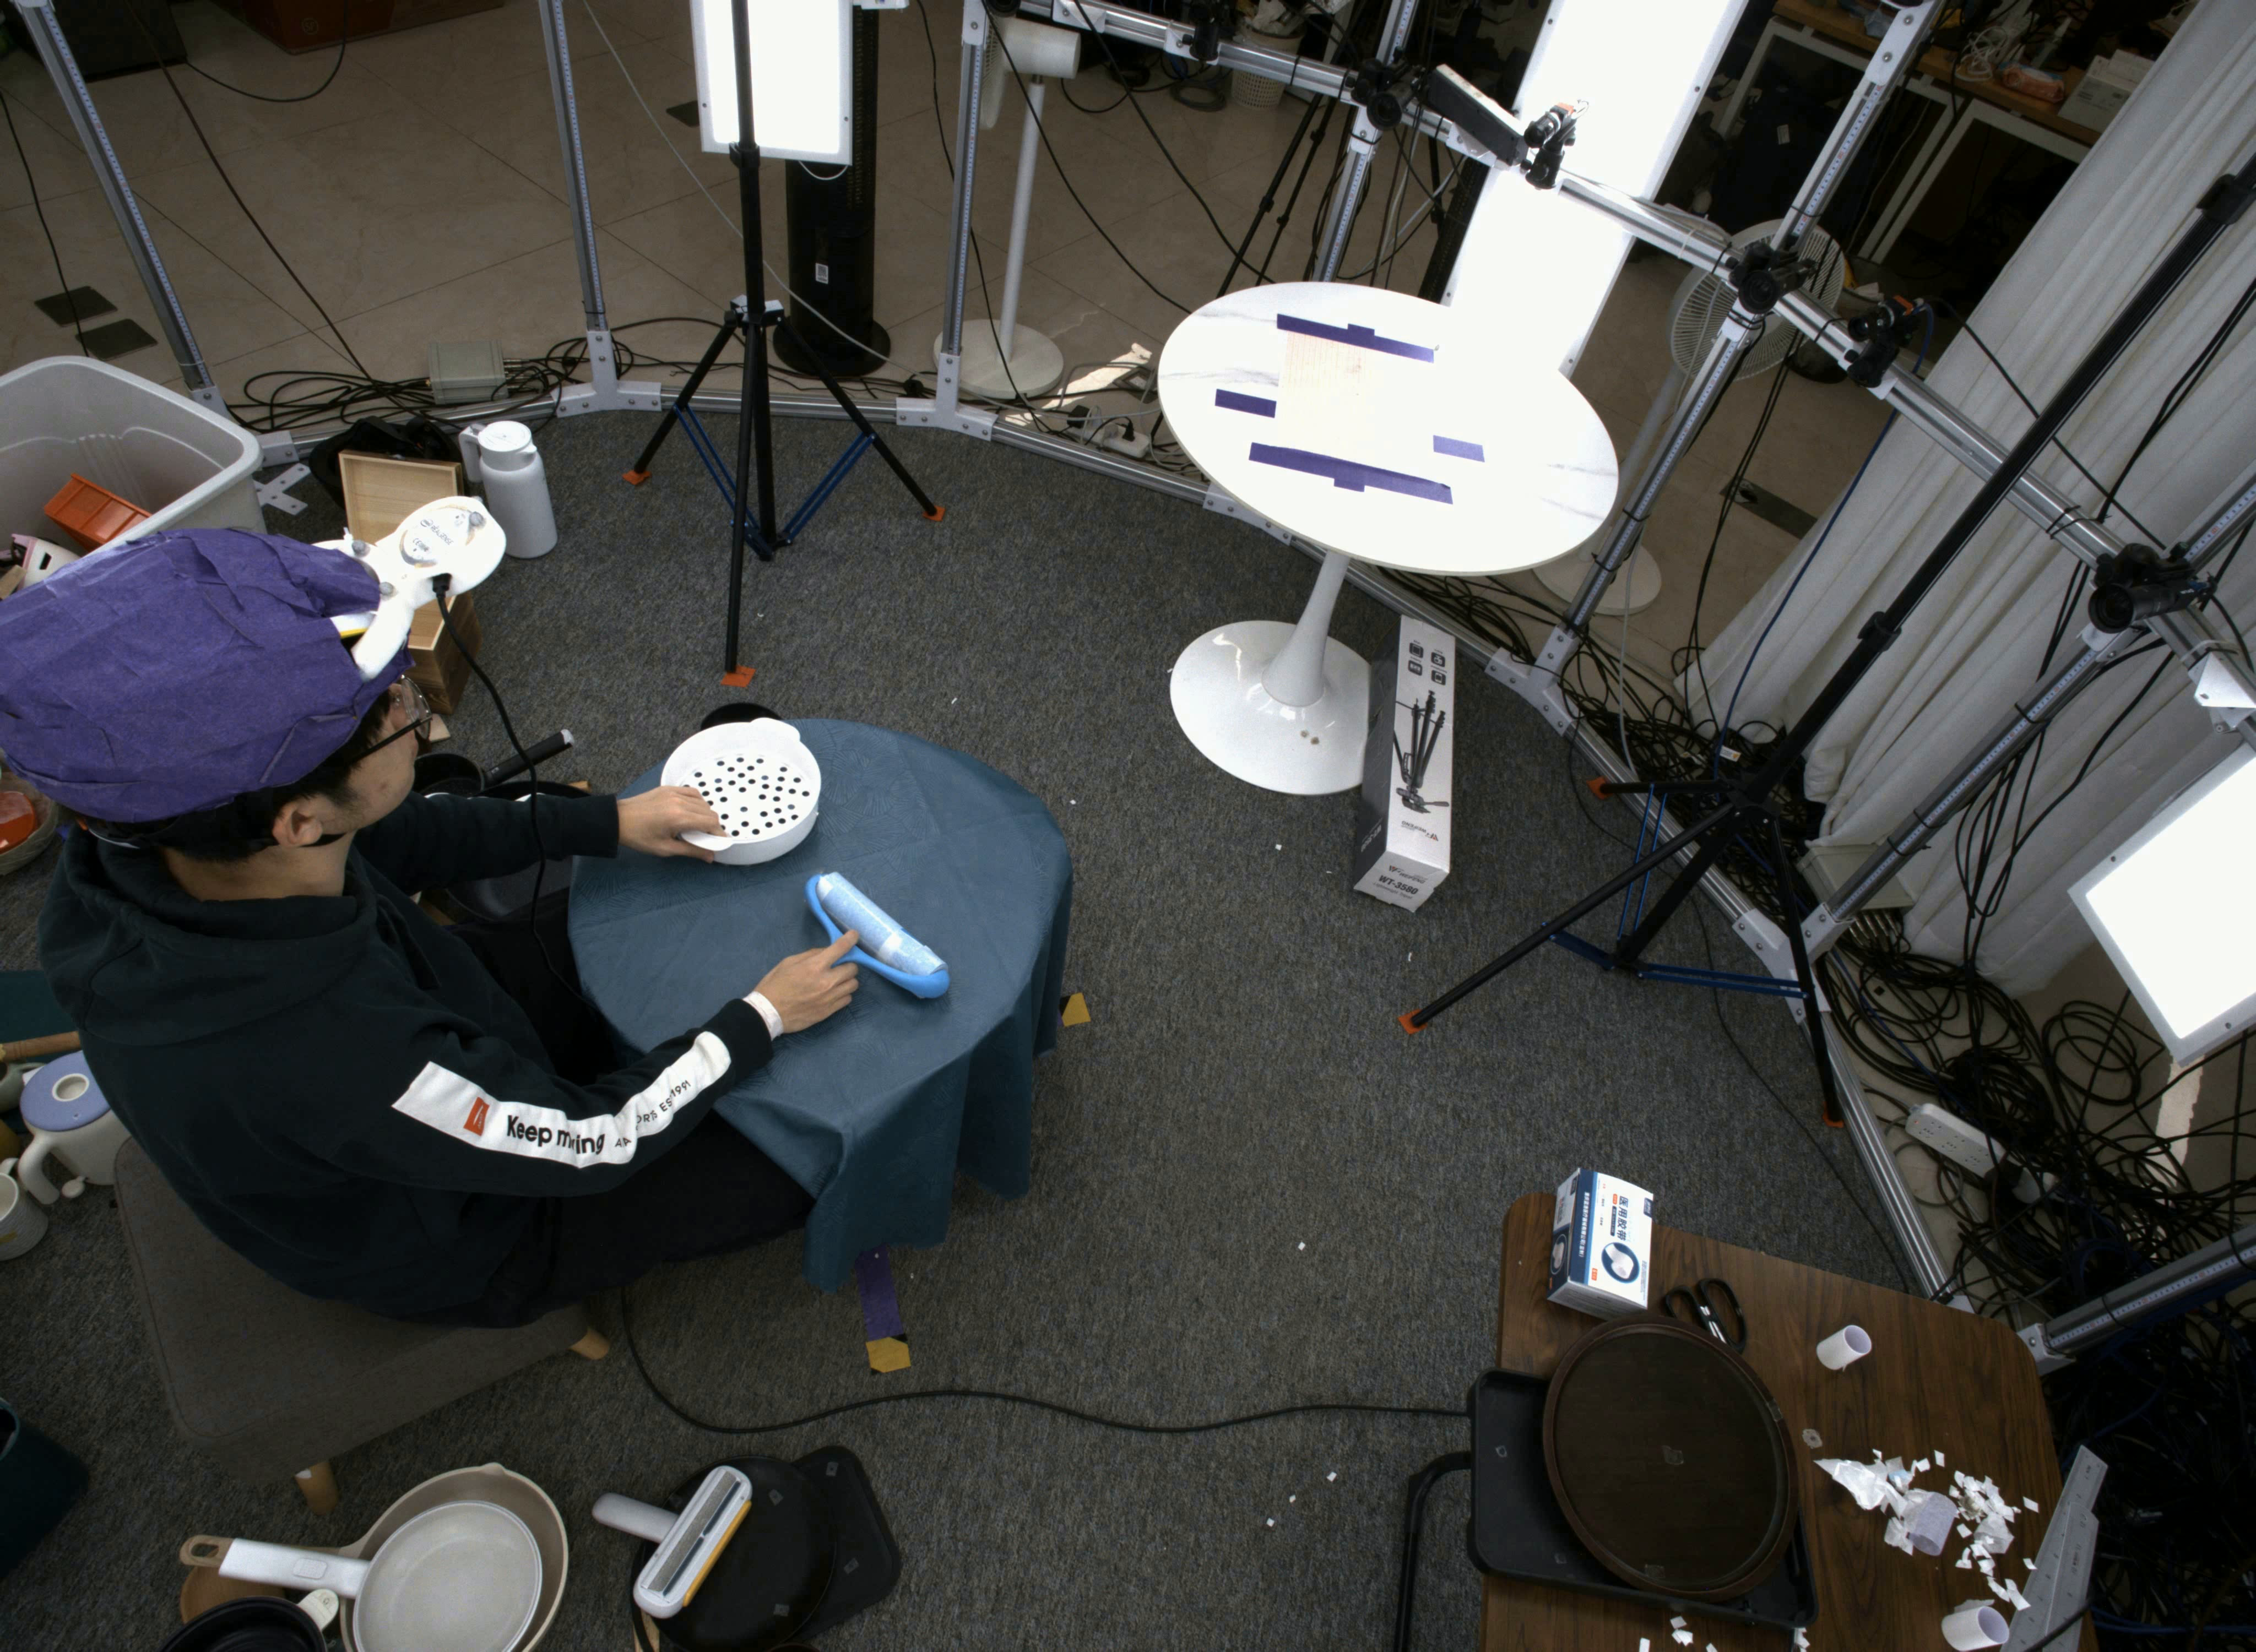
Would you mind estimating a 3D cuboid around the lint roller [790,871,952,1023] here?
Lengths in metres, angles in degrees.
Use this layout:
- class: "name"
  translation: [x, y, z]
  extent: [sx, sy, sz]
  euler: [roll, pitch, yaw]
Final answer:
- class: "lint roller"
  translation: [-0.345, 0.165, 1.594]
  extent: [0.225, 0.069, 0.180]
  euler: [35, 53, 9]

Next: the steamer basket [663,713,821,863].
- class: "steamer basket"
  translation: [-0.504, -0.046, 1.698]
  extent: [0.200, 0.070, 0.228]
  euler: [19, 53, 1]
